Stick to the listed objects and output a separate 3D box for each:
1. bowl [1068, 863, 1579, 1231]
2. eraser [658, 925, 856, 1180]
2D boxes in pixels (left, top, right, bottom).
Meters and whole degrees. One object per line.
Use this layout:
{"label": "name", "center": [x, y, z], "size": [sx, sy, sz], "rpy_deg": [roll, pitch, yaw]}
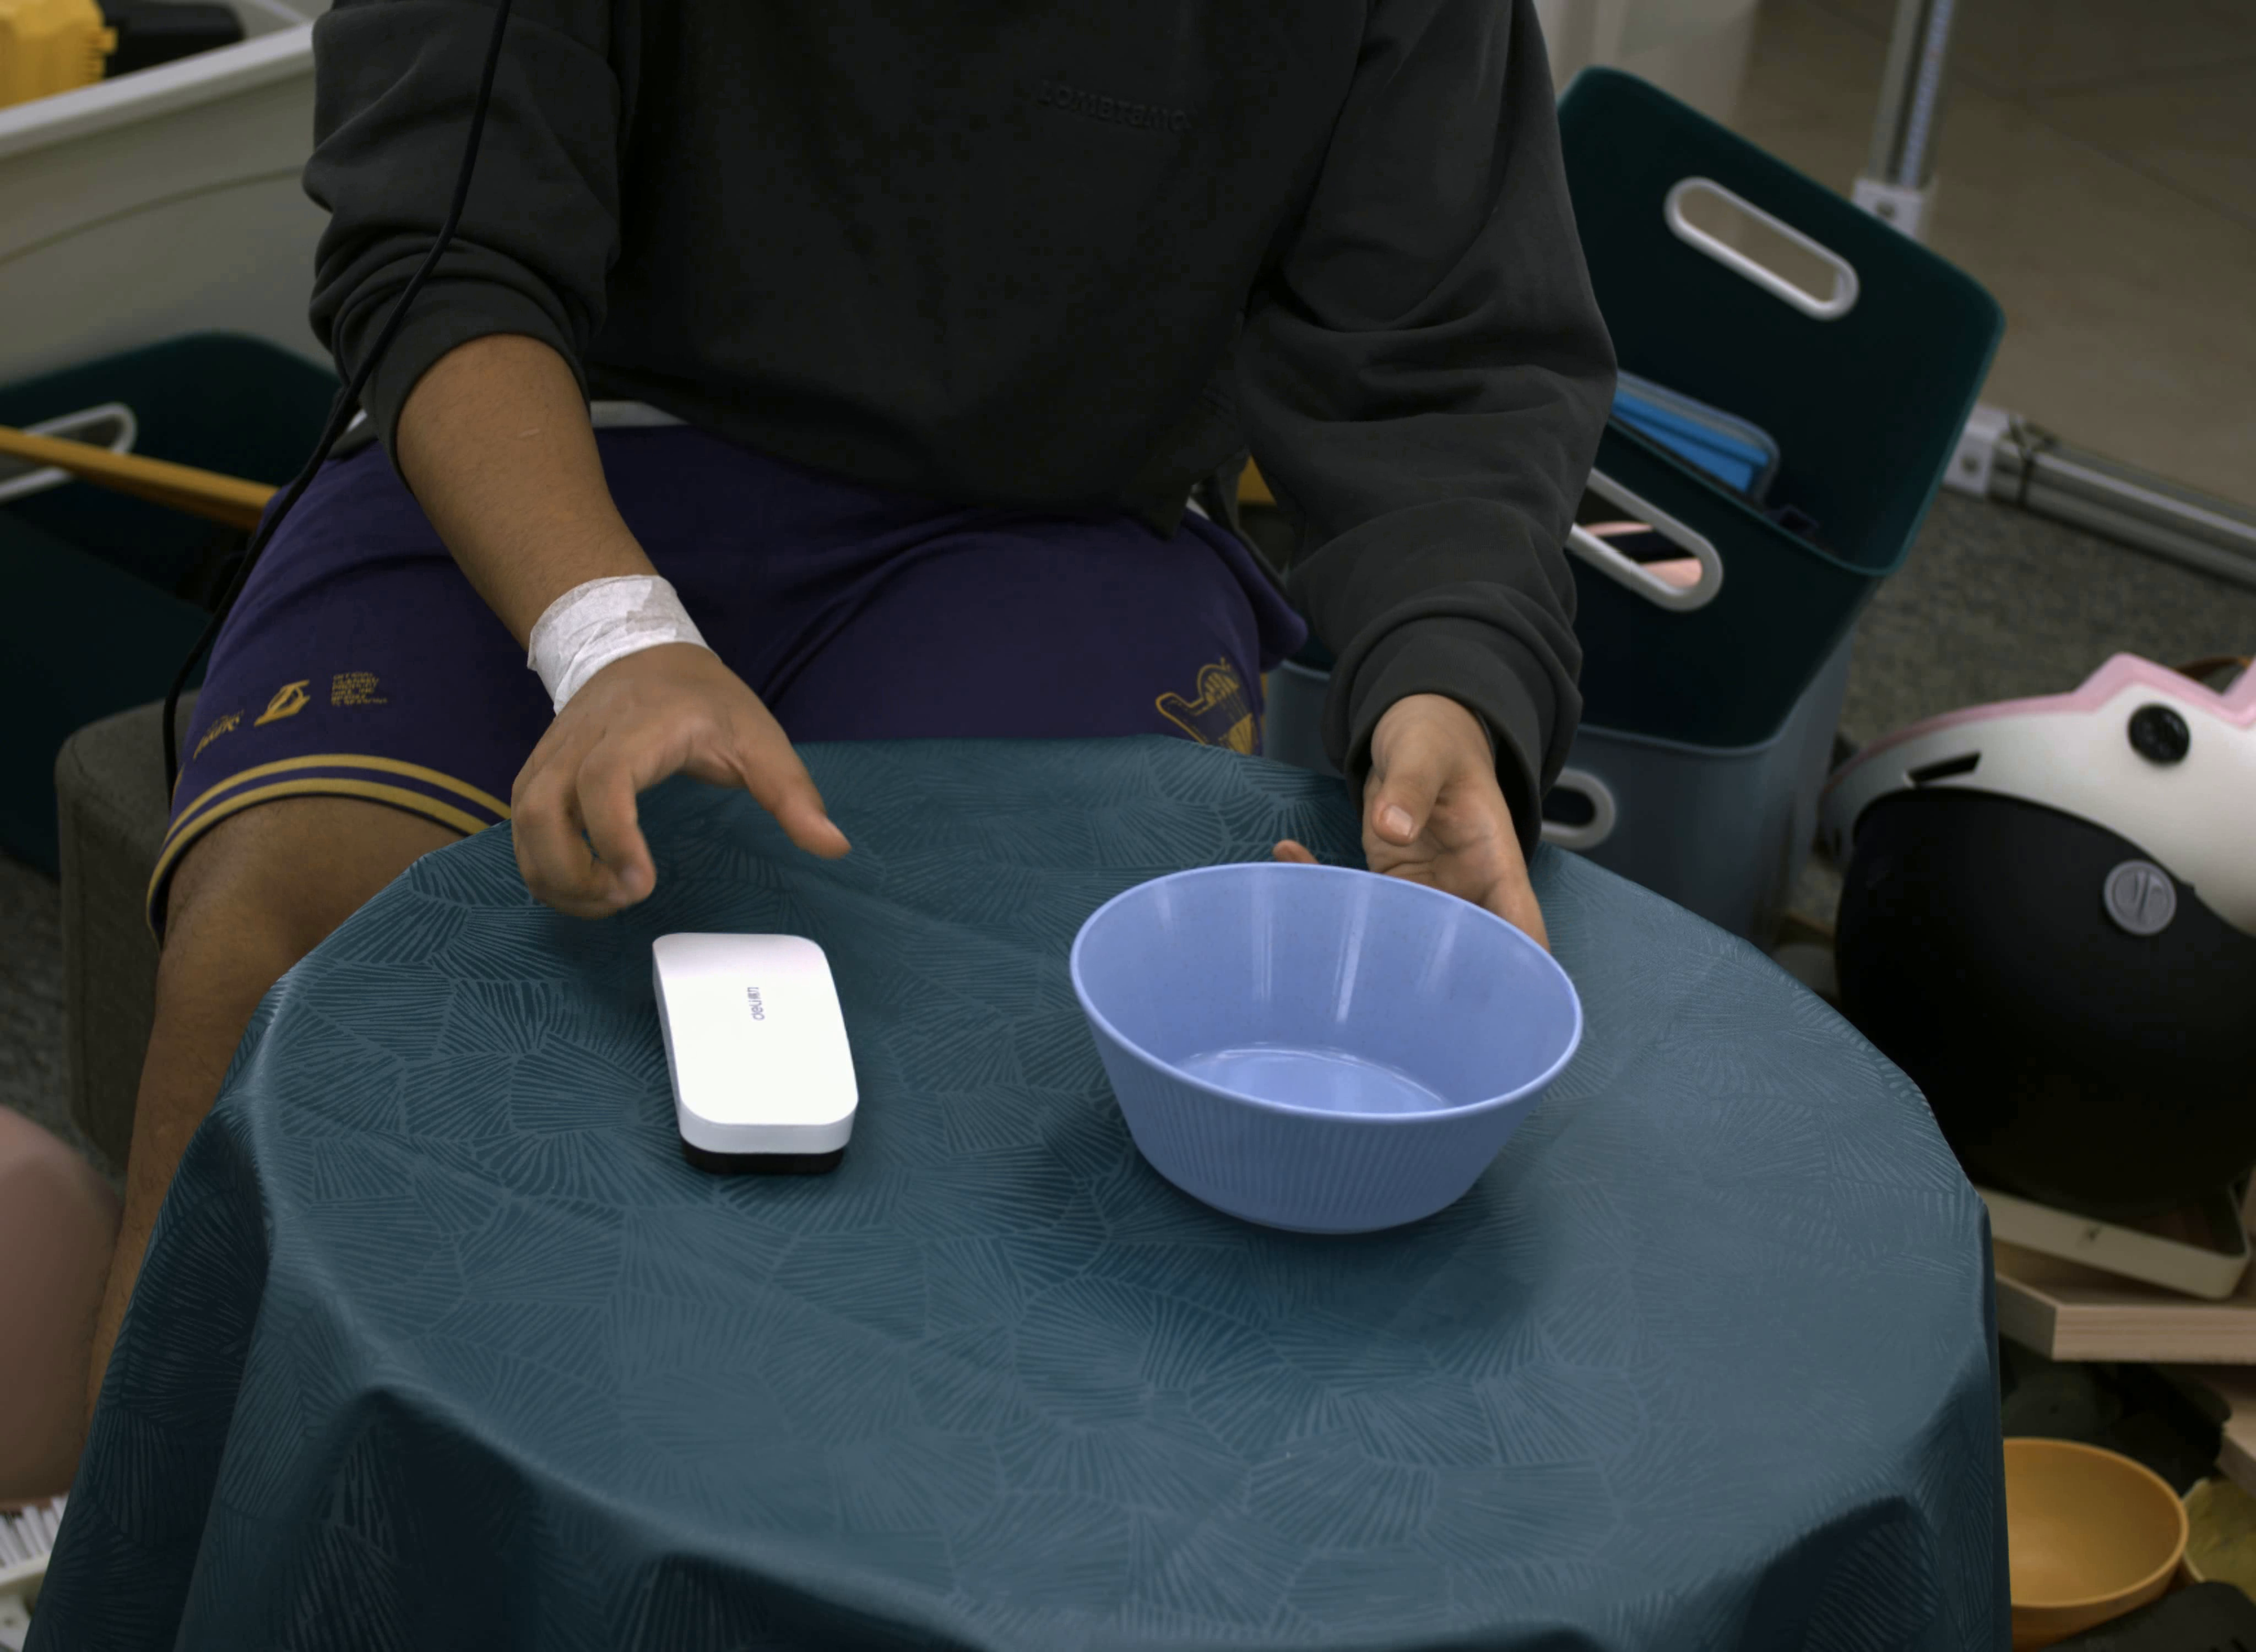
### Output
{"label": "bowl", "center": [0.062, 0.081, 1.819], "size": [0.175, 0.070, 0.177], "rpy_deg": [6, 27, -3]}
{"label": "eraser", "center": [-0.128, 0.074, 1.834], "size": [0.063, 0.034, 0.132], "rpy_deg": [3, 29, -10]}
